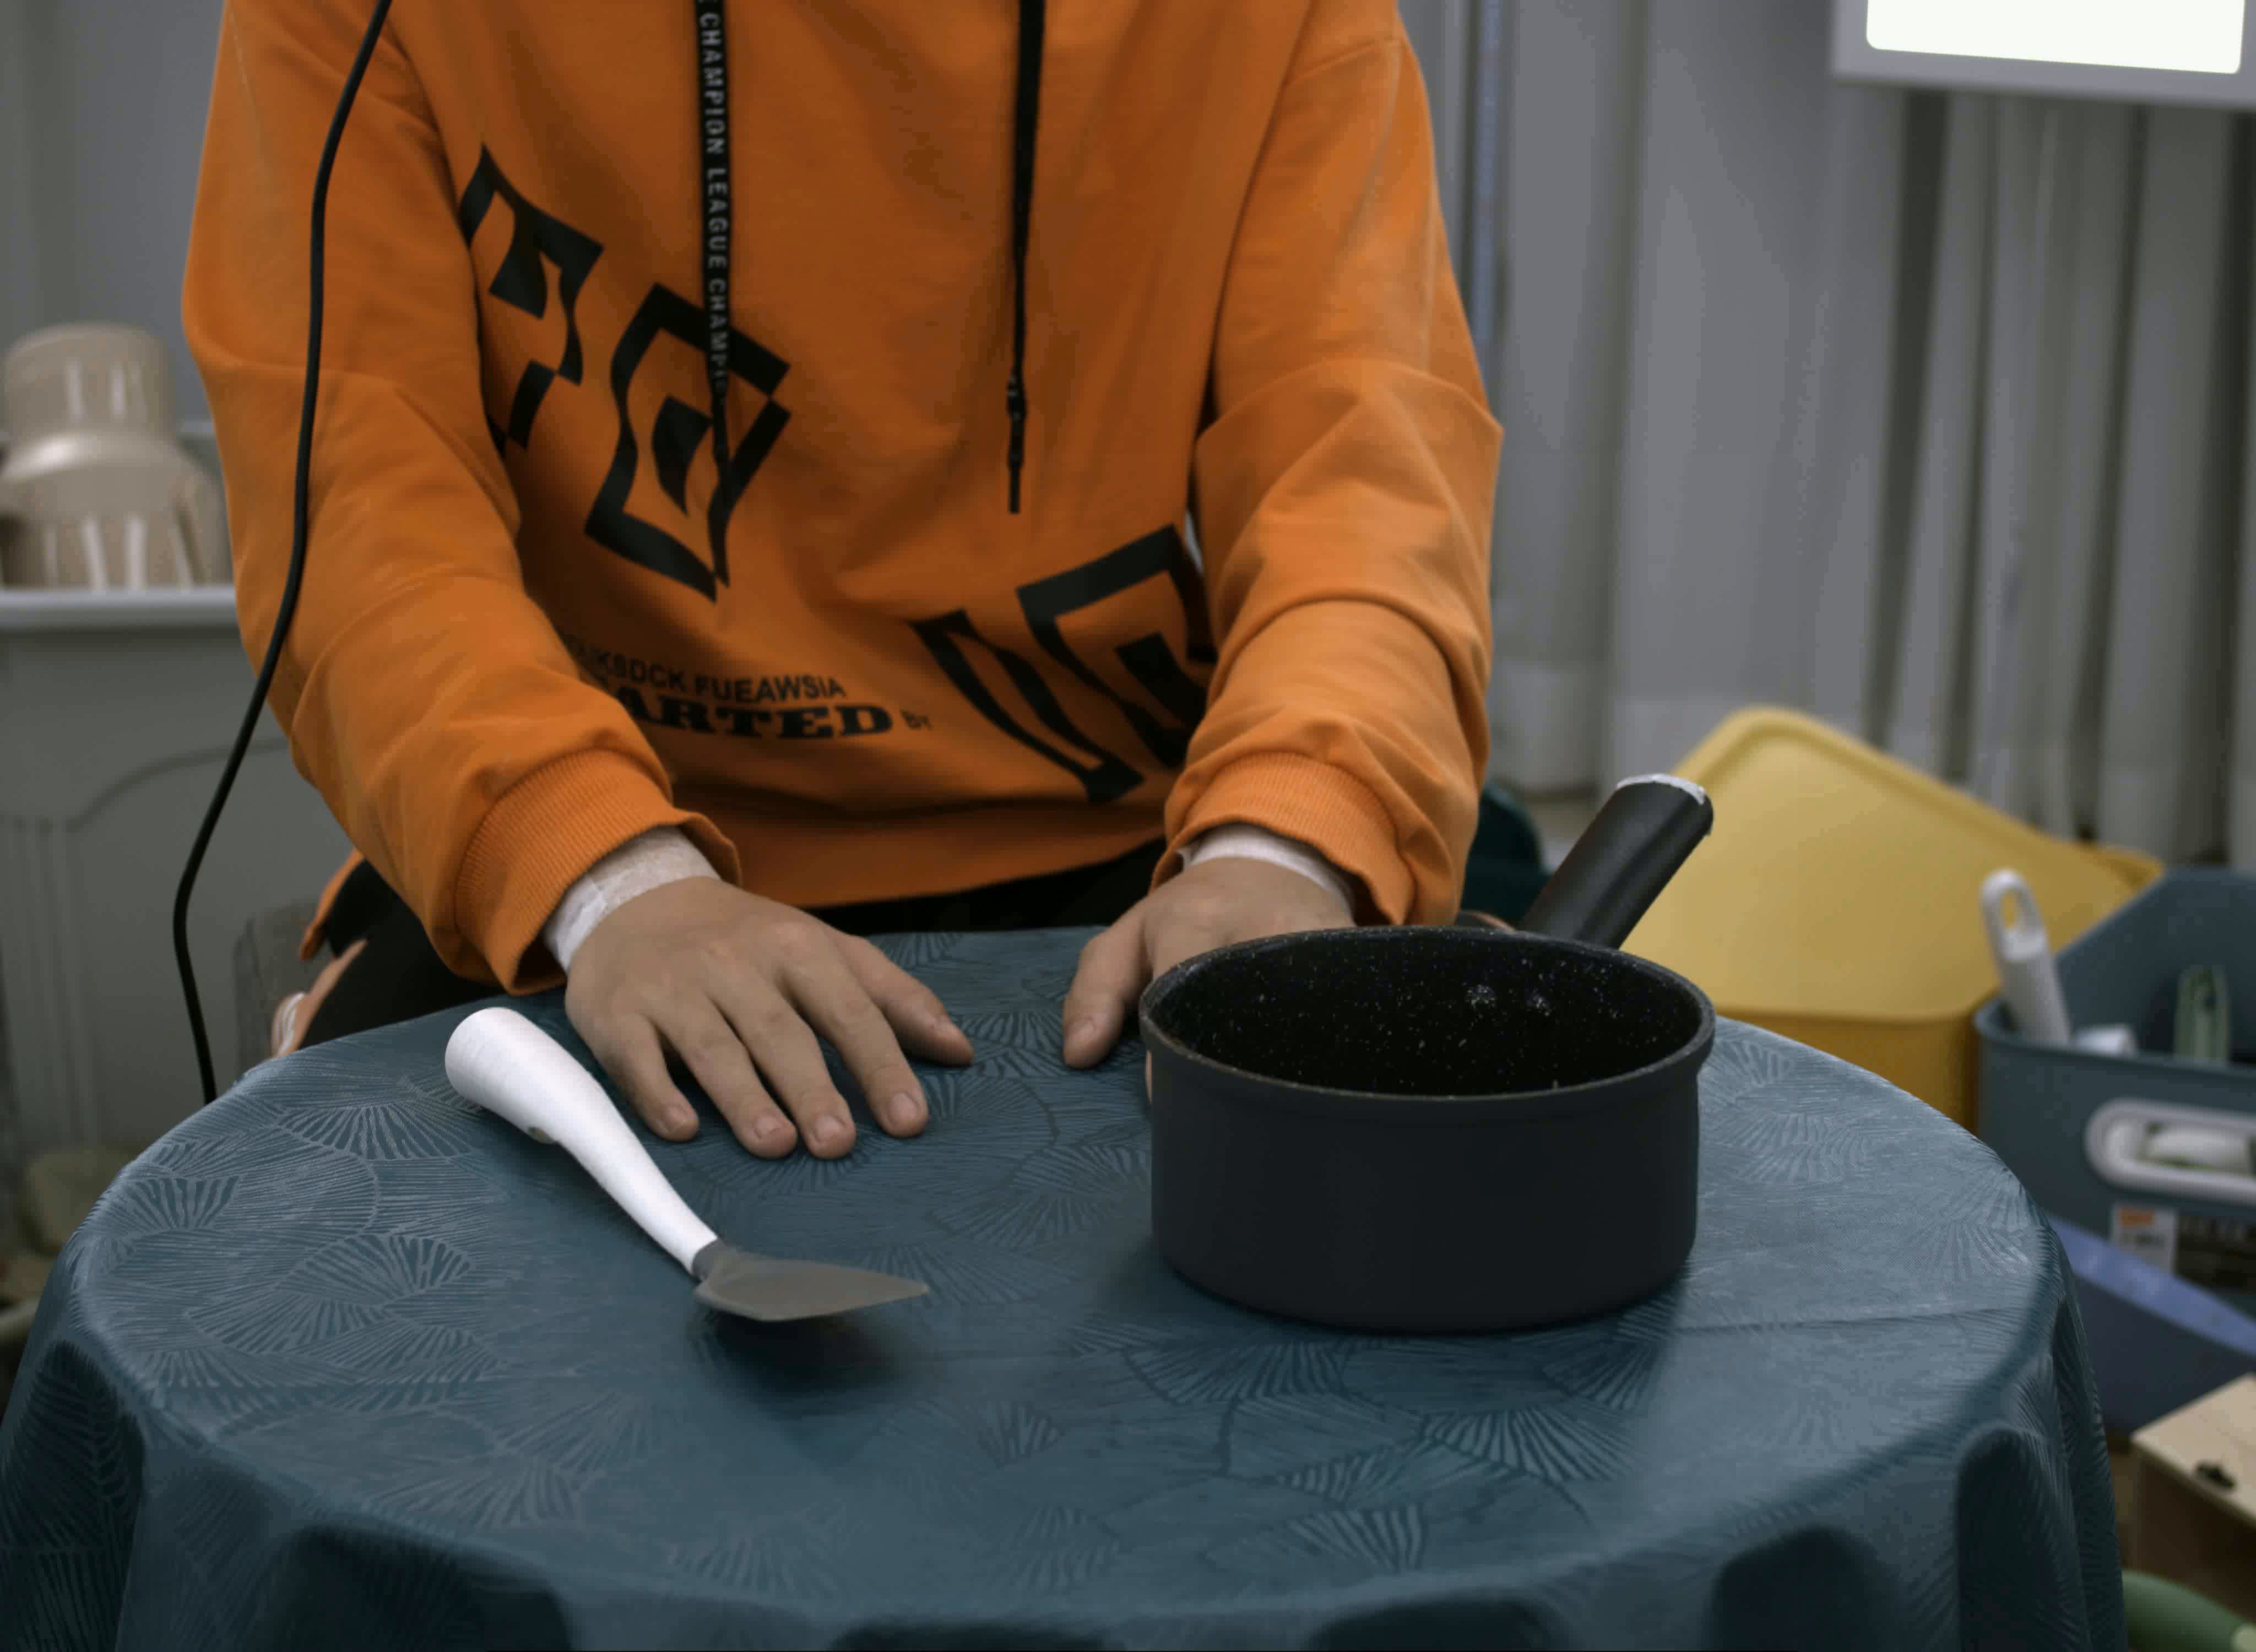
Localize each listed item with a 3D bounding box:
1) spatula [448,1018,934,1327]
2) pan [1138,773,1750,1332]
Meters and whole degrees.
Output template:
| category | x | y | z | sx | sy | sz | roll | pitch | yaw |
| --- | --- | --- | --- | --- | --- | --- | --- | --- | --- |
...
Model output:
| category | x | y | z | sx | sy | sz | roll | pitch | yaw |
| --- | --- | --- | --- | --- | --- | --- | --- | --- | --- |
| spatula | -0.139 | 0.109 | 1.571 | 0.059 | 0.032 | 0.284 | -3 | 15 | -27 |
| pan | 0.121 | 0.066 | 1.634 | 0.170 | 0.087 | 0.329 | 8 | 19 | 23 |
